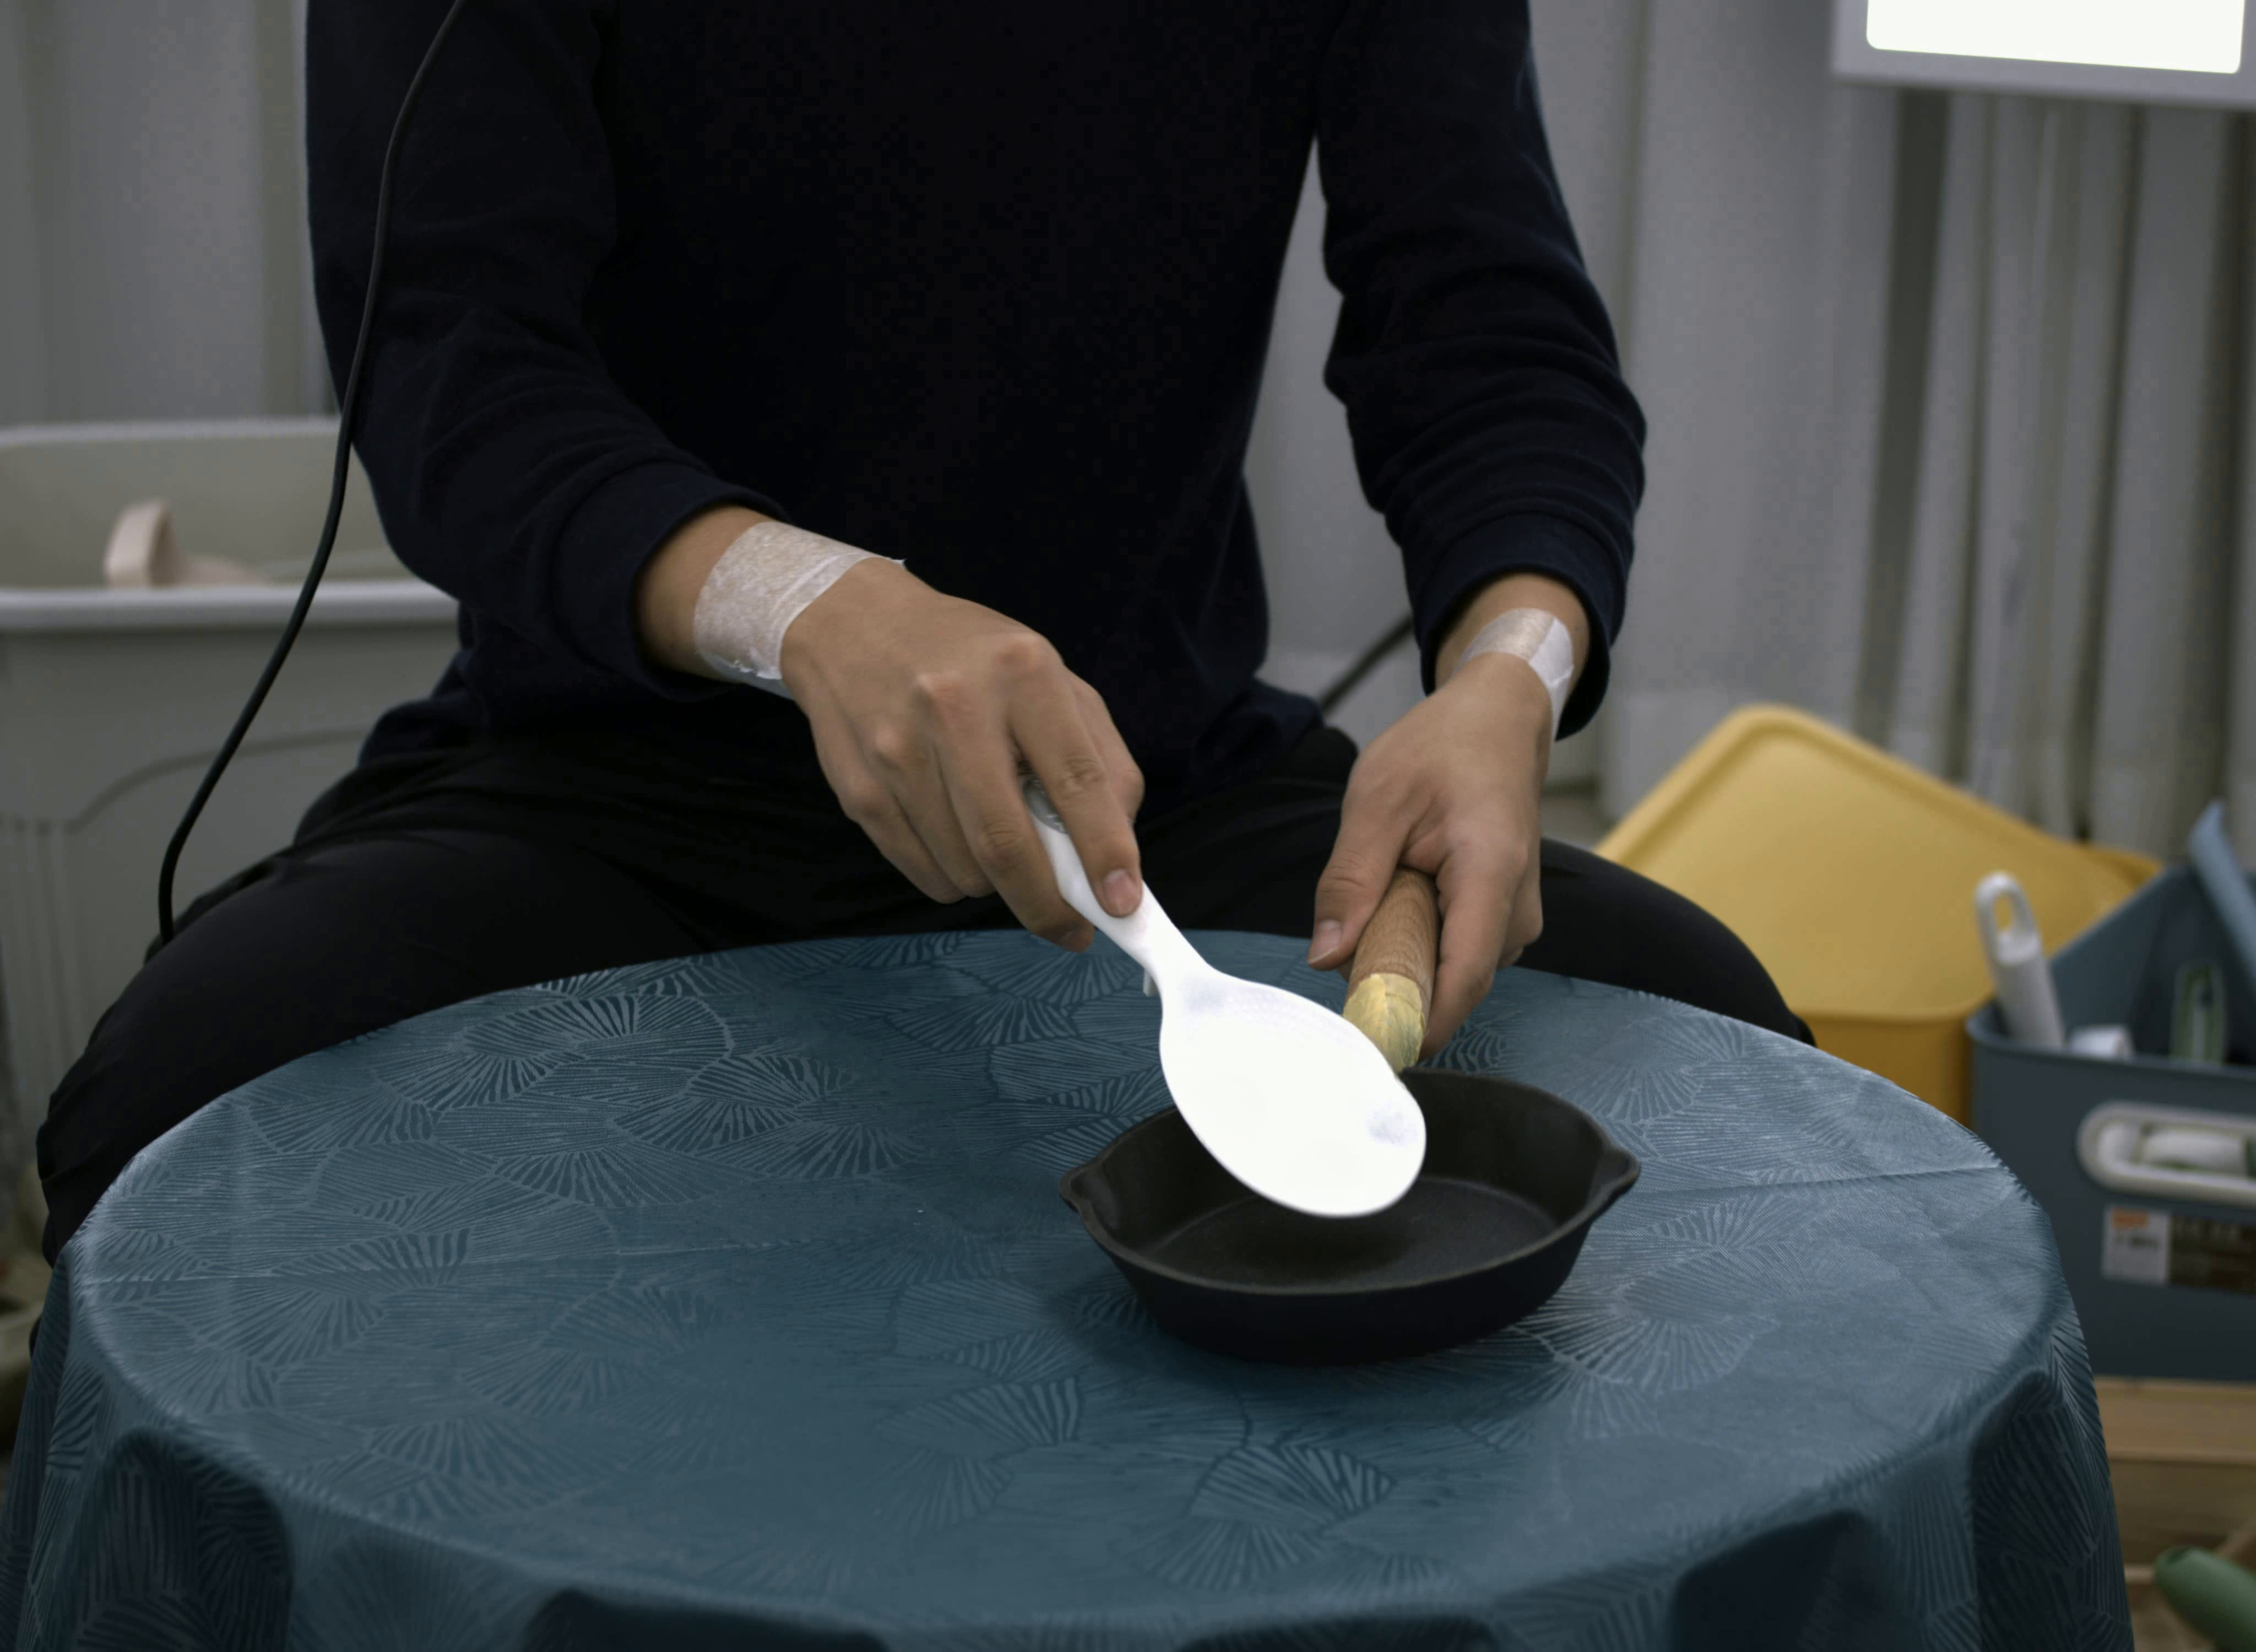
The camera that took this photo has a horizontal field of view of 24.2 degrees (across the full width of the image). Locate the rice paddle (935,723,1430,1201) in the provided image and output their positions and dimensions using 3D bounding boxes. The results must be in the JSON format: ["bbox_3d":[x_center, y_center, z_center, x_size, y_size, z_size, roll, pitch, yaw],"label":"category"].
[{"bbox_3d":[0.015,0.041,1.582,0.069,0.030,0.203,-28,57,-28],"label":"rice paddle"}]

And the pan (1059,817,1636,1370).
[{"bbox_3d":[0.077,0.078,1.602,0.168,0.050,0.323,0,22,10],"label":"pan"}]
